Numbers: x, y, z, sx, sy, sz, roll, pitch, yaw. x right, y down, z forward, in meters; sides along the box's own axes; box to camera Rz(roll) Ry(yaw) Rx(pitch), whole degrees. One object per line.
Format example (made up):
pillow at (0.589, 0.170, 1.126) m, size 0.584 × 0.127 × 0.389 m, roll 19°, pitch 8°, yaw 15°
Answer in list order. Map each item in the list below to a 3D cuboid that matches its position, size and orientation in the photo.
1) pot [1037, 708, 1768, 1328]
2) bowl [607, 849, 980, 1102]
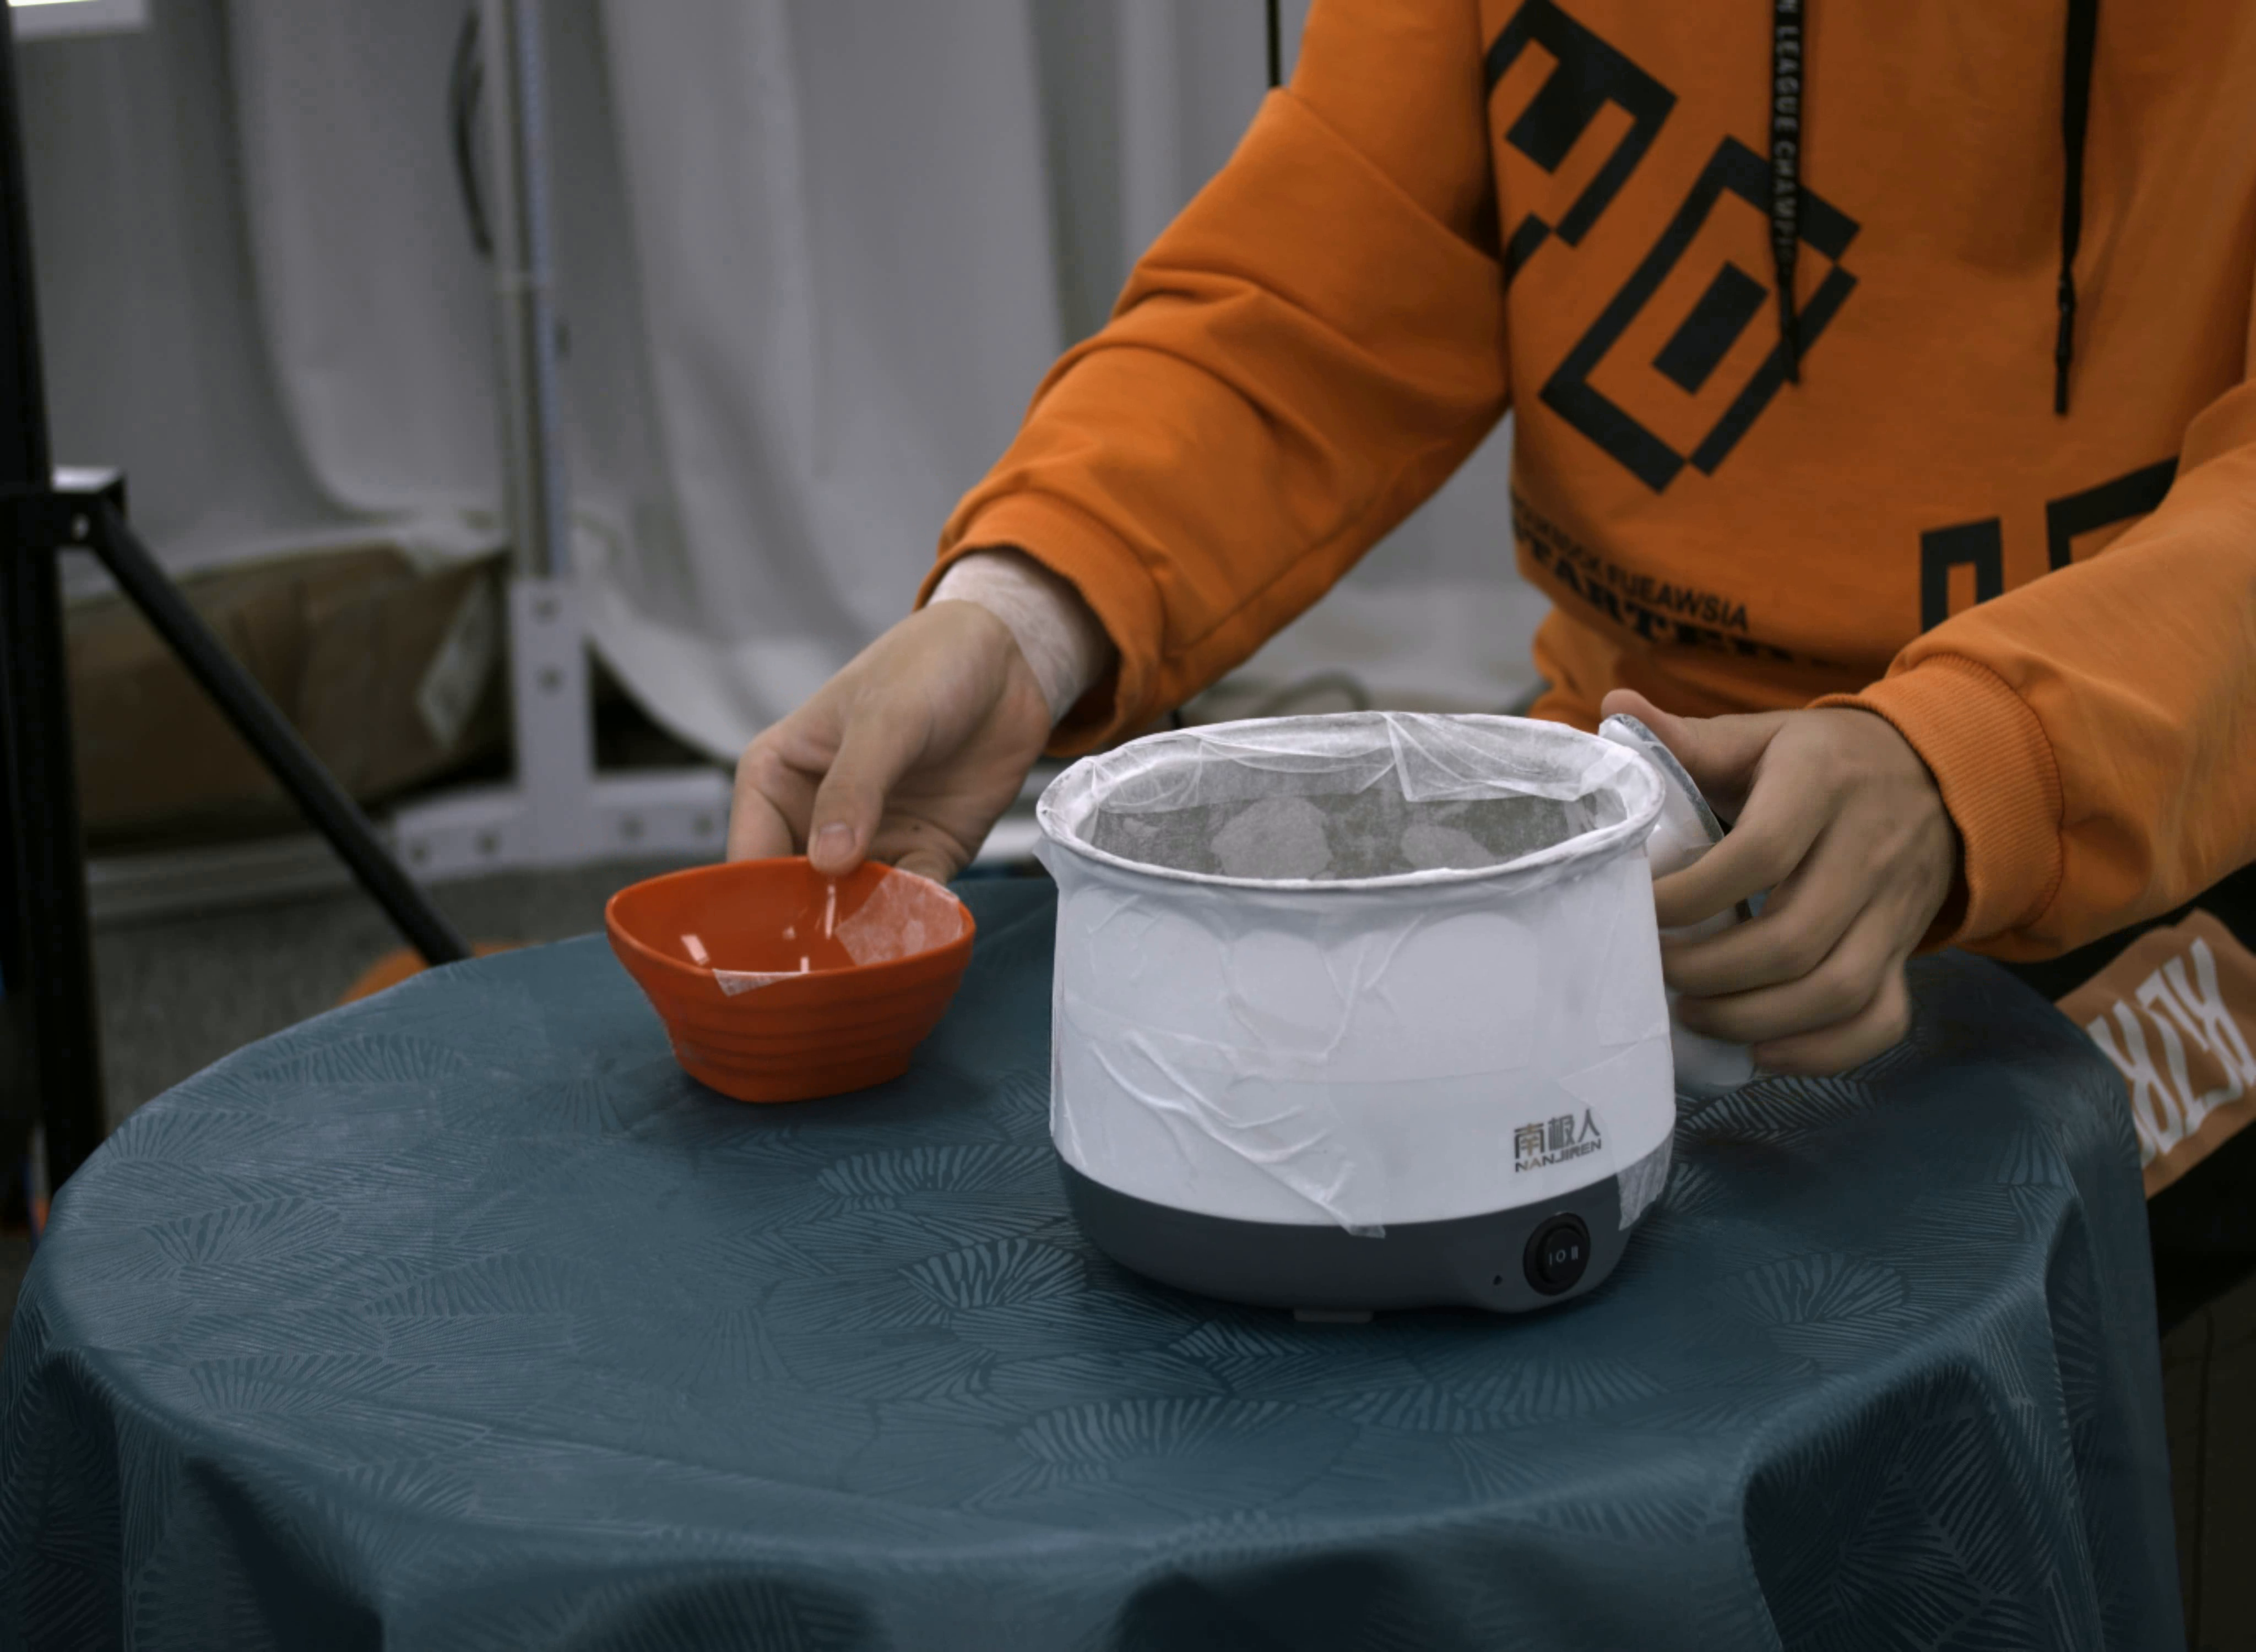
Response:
pot at (0.087, 0.047, 1.509) m, size 0.228 × 0.136 × 0.183 m, roll -14°, pitch 19°, yaw -34°
bowl at (-0.105, 0.050, 1.677) m, size 0.118 × 0.051 × 0.119 m, roll -1°, pitch 18°, yaw -1°
